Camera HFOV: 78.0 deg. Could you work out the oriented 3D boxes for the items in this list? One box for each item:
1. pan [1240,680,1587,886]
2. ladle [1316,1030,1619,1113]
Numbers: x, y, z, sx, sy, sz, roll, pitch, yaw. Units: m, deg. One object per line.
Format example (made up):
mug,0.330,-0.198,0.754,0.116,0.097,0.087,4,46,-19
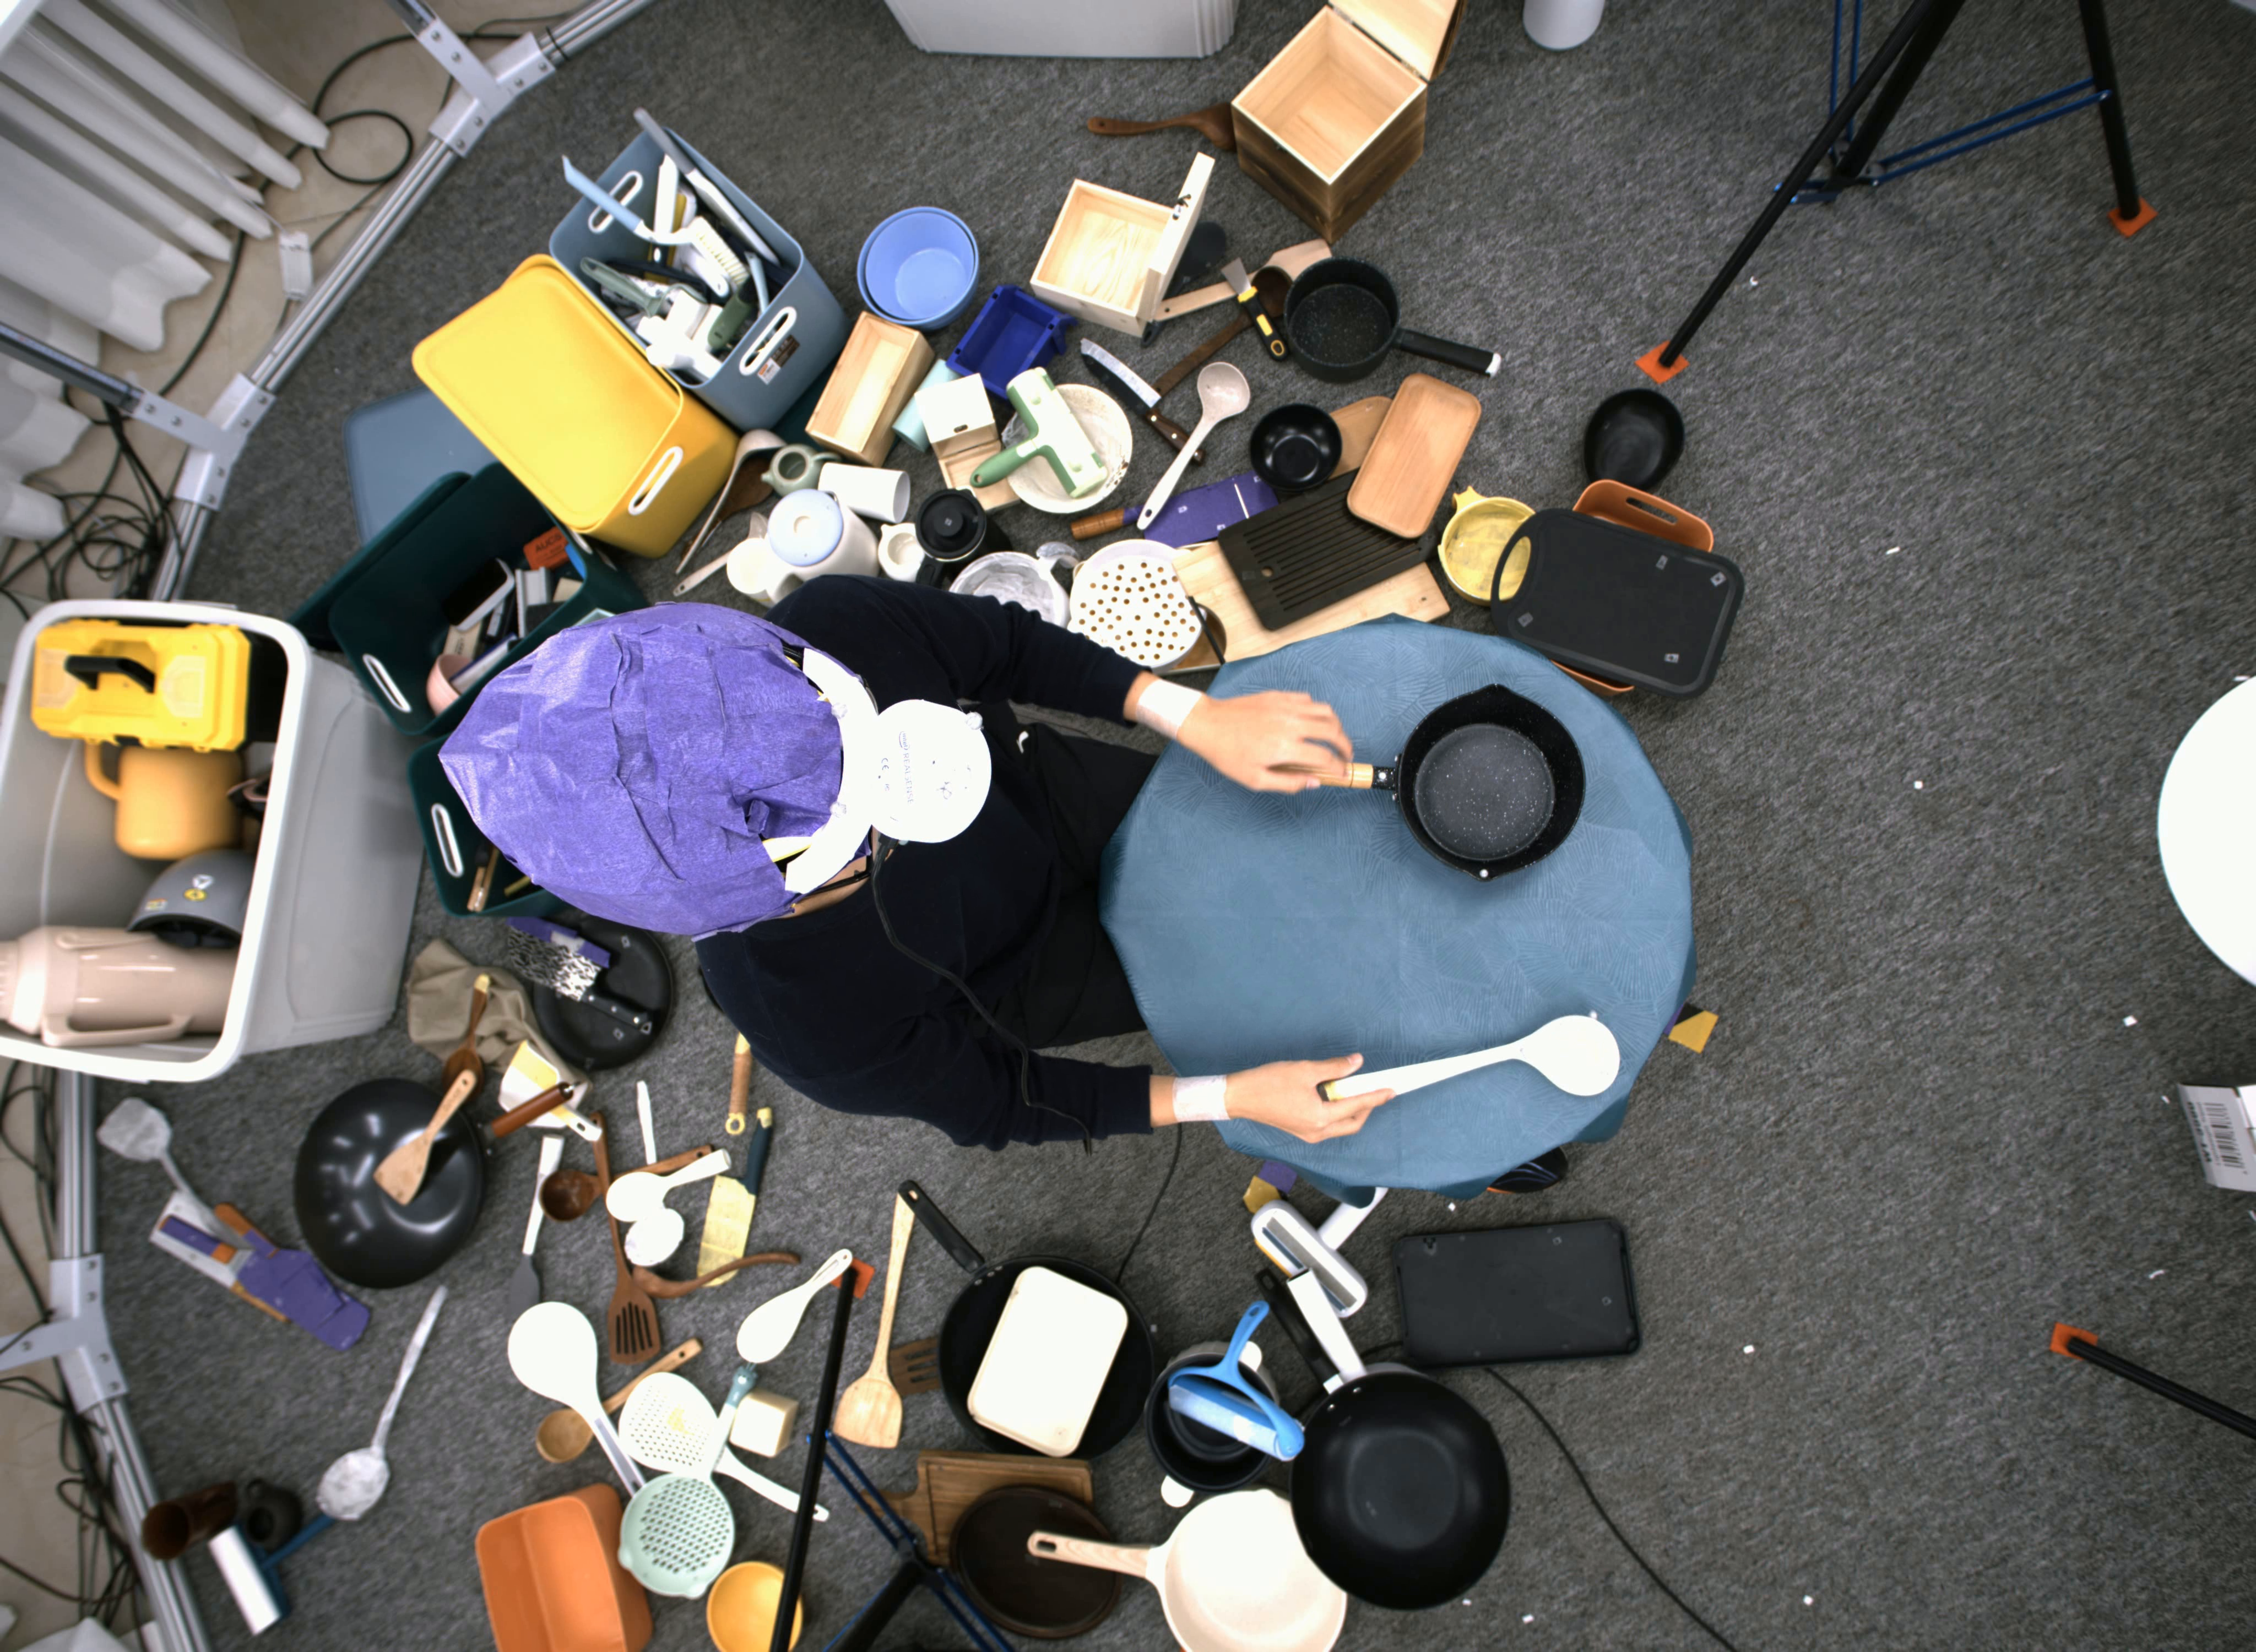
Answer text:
pan,0.288,-0.046,1.408,0.344,0.108,0.207,3,88,9
ladle,0.339,0.255,1.382,0.293,0.068,0.092,-10,124,-5
